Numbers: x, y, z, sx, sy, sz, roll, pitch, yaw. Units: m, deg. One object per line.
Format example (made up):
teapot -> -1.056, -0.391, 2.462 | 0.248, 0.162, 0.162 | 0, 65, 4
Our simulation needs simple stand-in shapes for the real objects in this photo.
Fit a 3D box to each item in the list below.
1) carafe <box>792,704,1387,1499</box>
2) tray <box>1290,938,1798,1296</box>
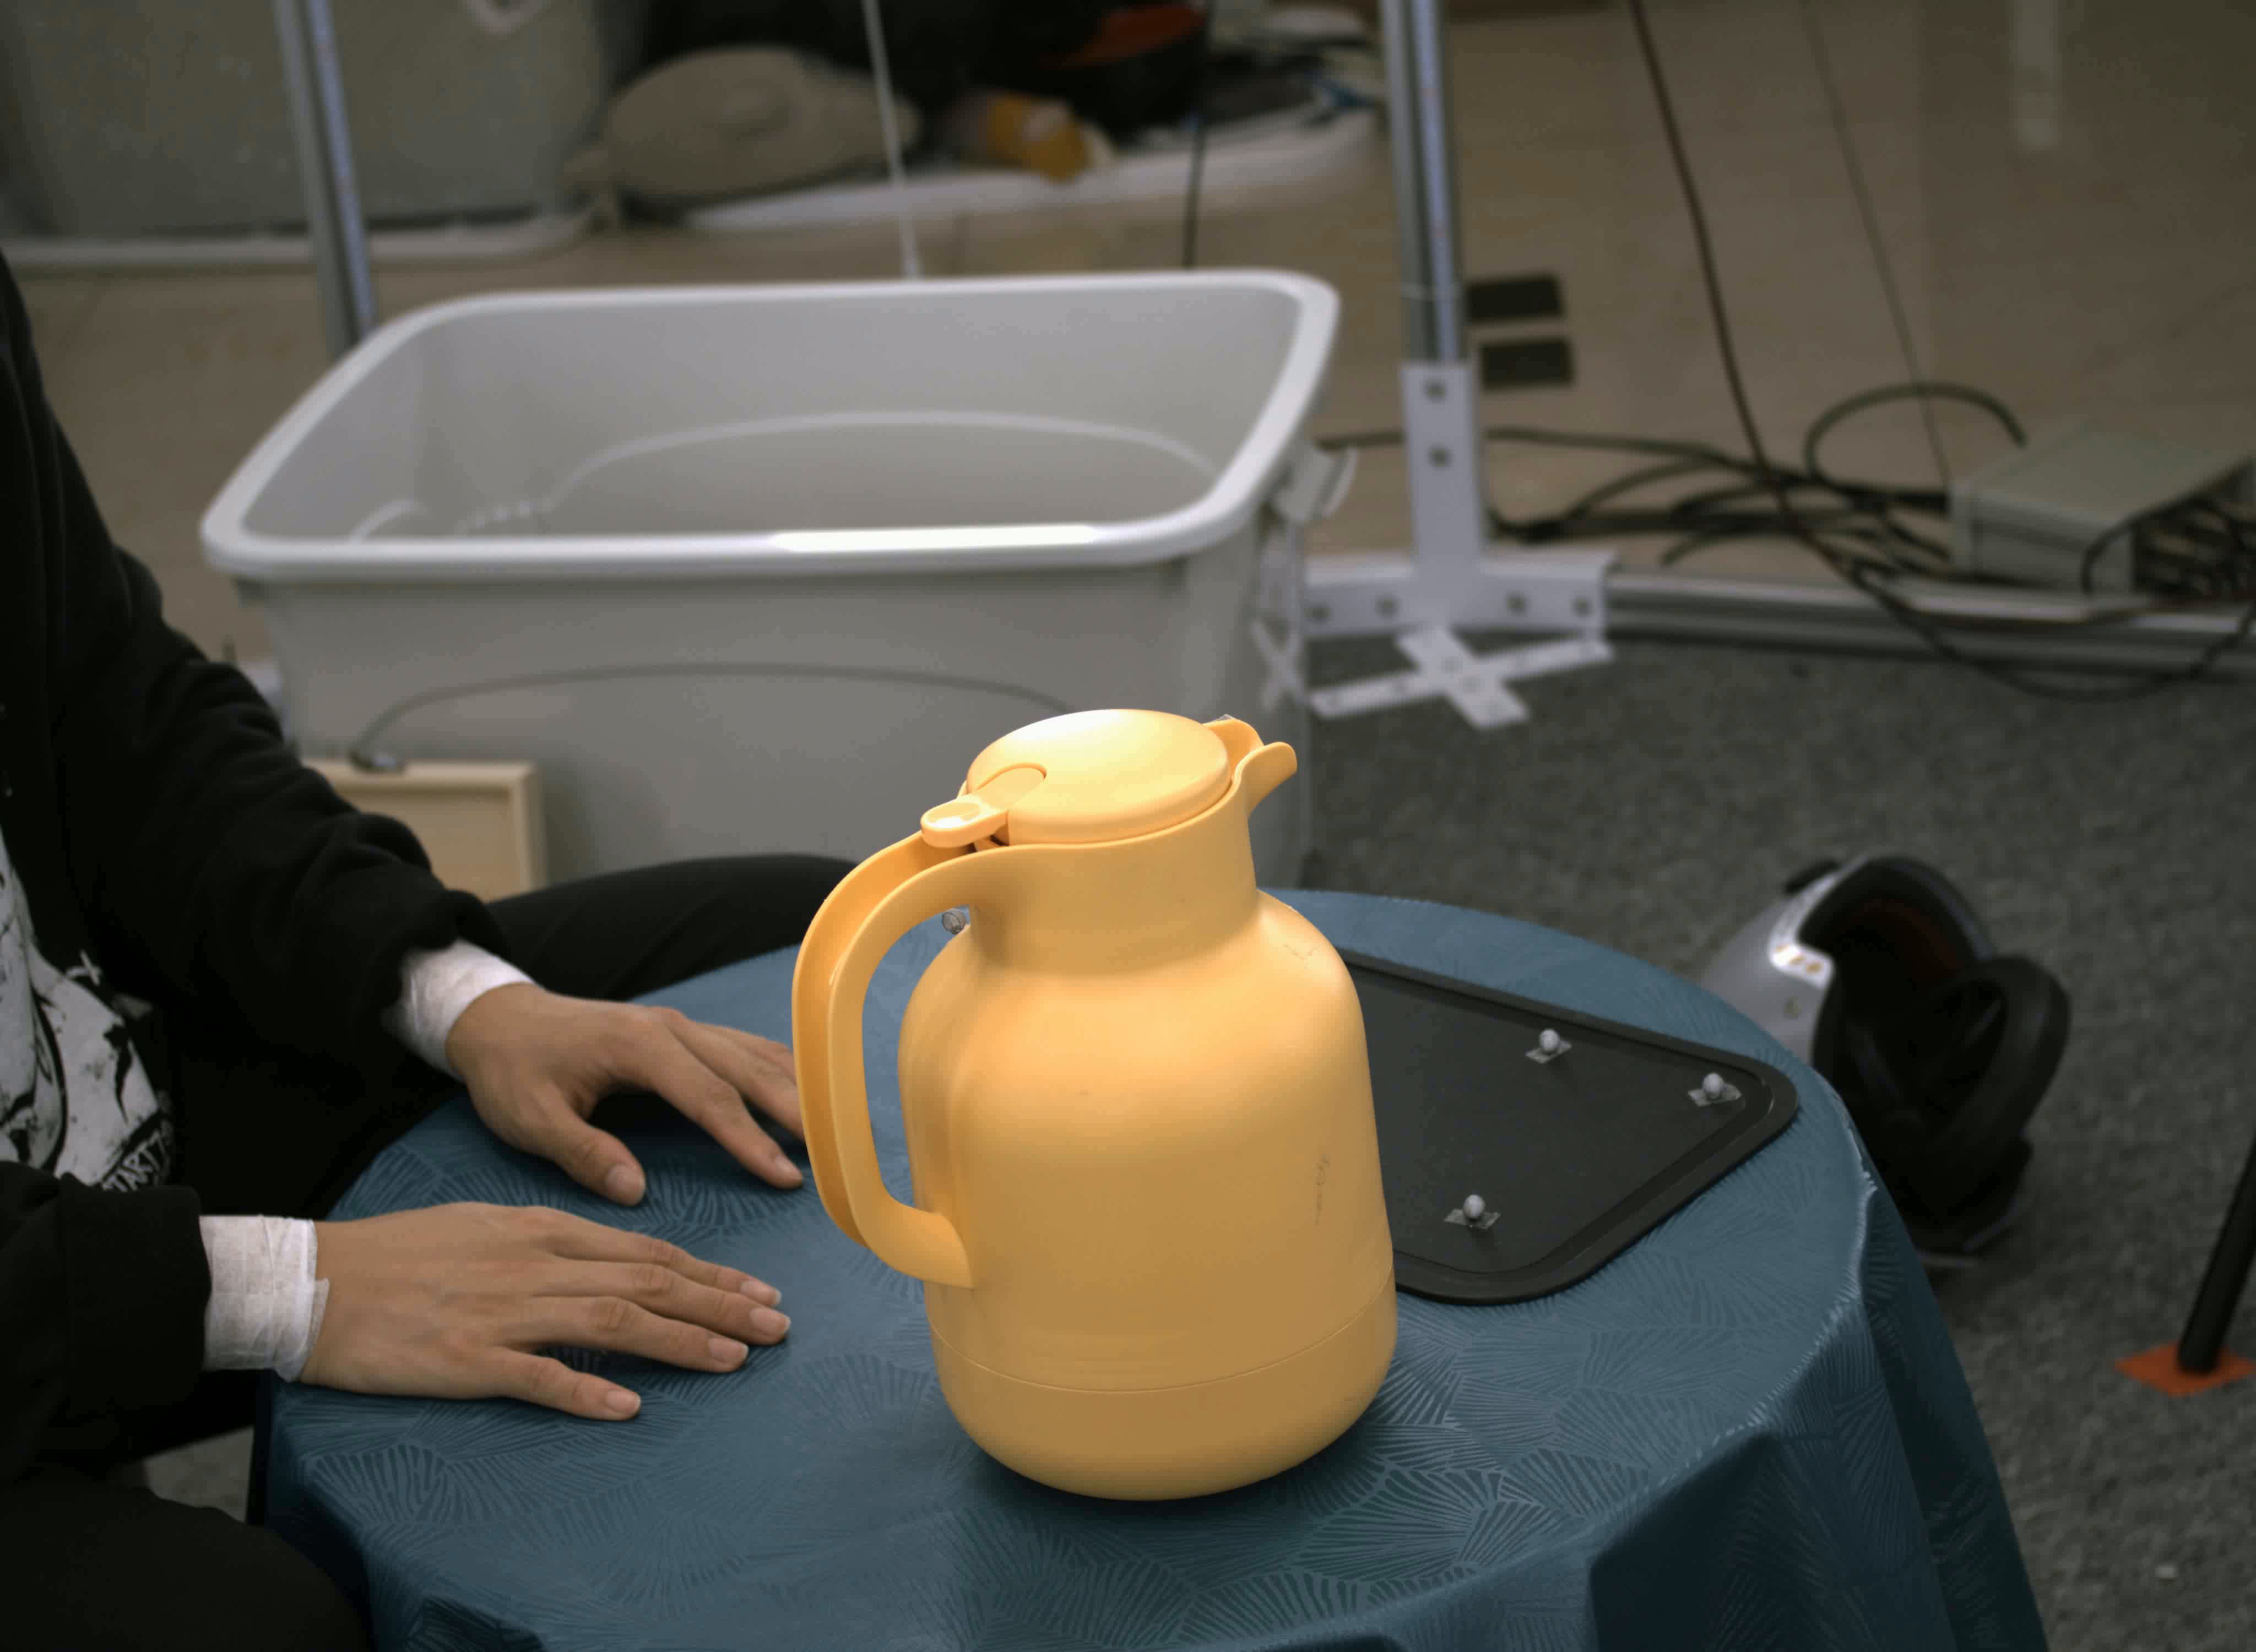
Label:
carafe -> -0.016, 0.094, 1.933 | 0.201, 0.264, 0.162 | -17, 25, -25
tray -> 0.083, 0.106, 2.193 | 0.323, 0.010, 0.209 | 15, 32, 39
